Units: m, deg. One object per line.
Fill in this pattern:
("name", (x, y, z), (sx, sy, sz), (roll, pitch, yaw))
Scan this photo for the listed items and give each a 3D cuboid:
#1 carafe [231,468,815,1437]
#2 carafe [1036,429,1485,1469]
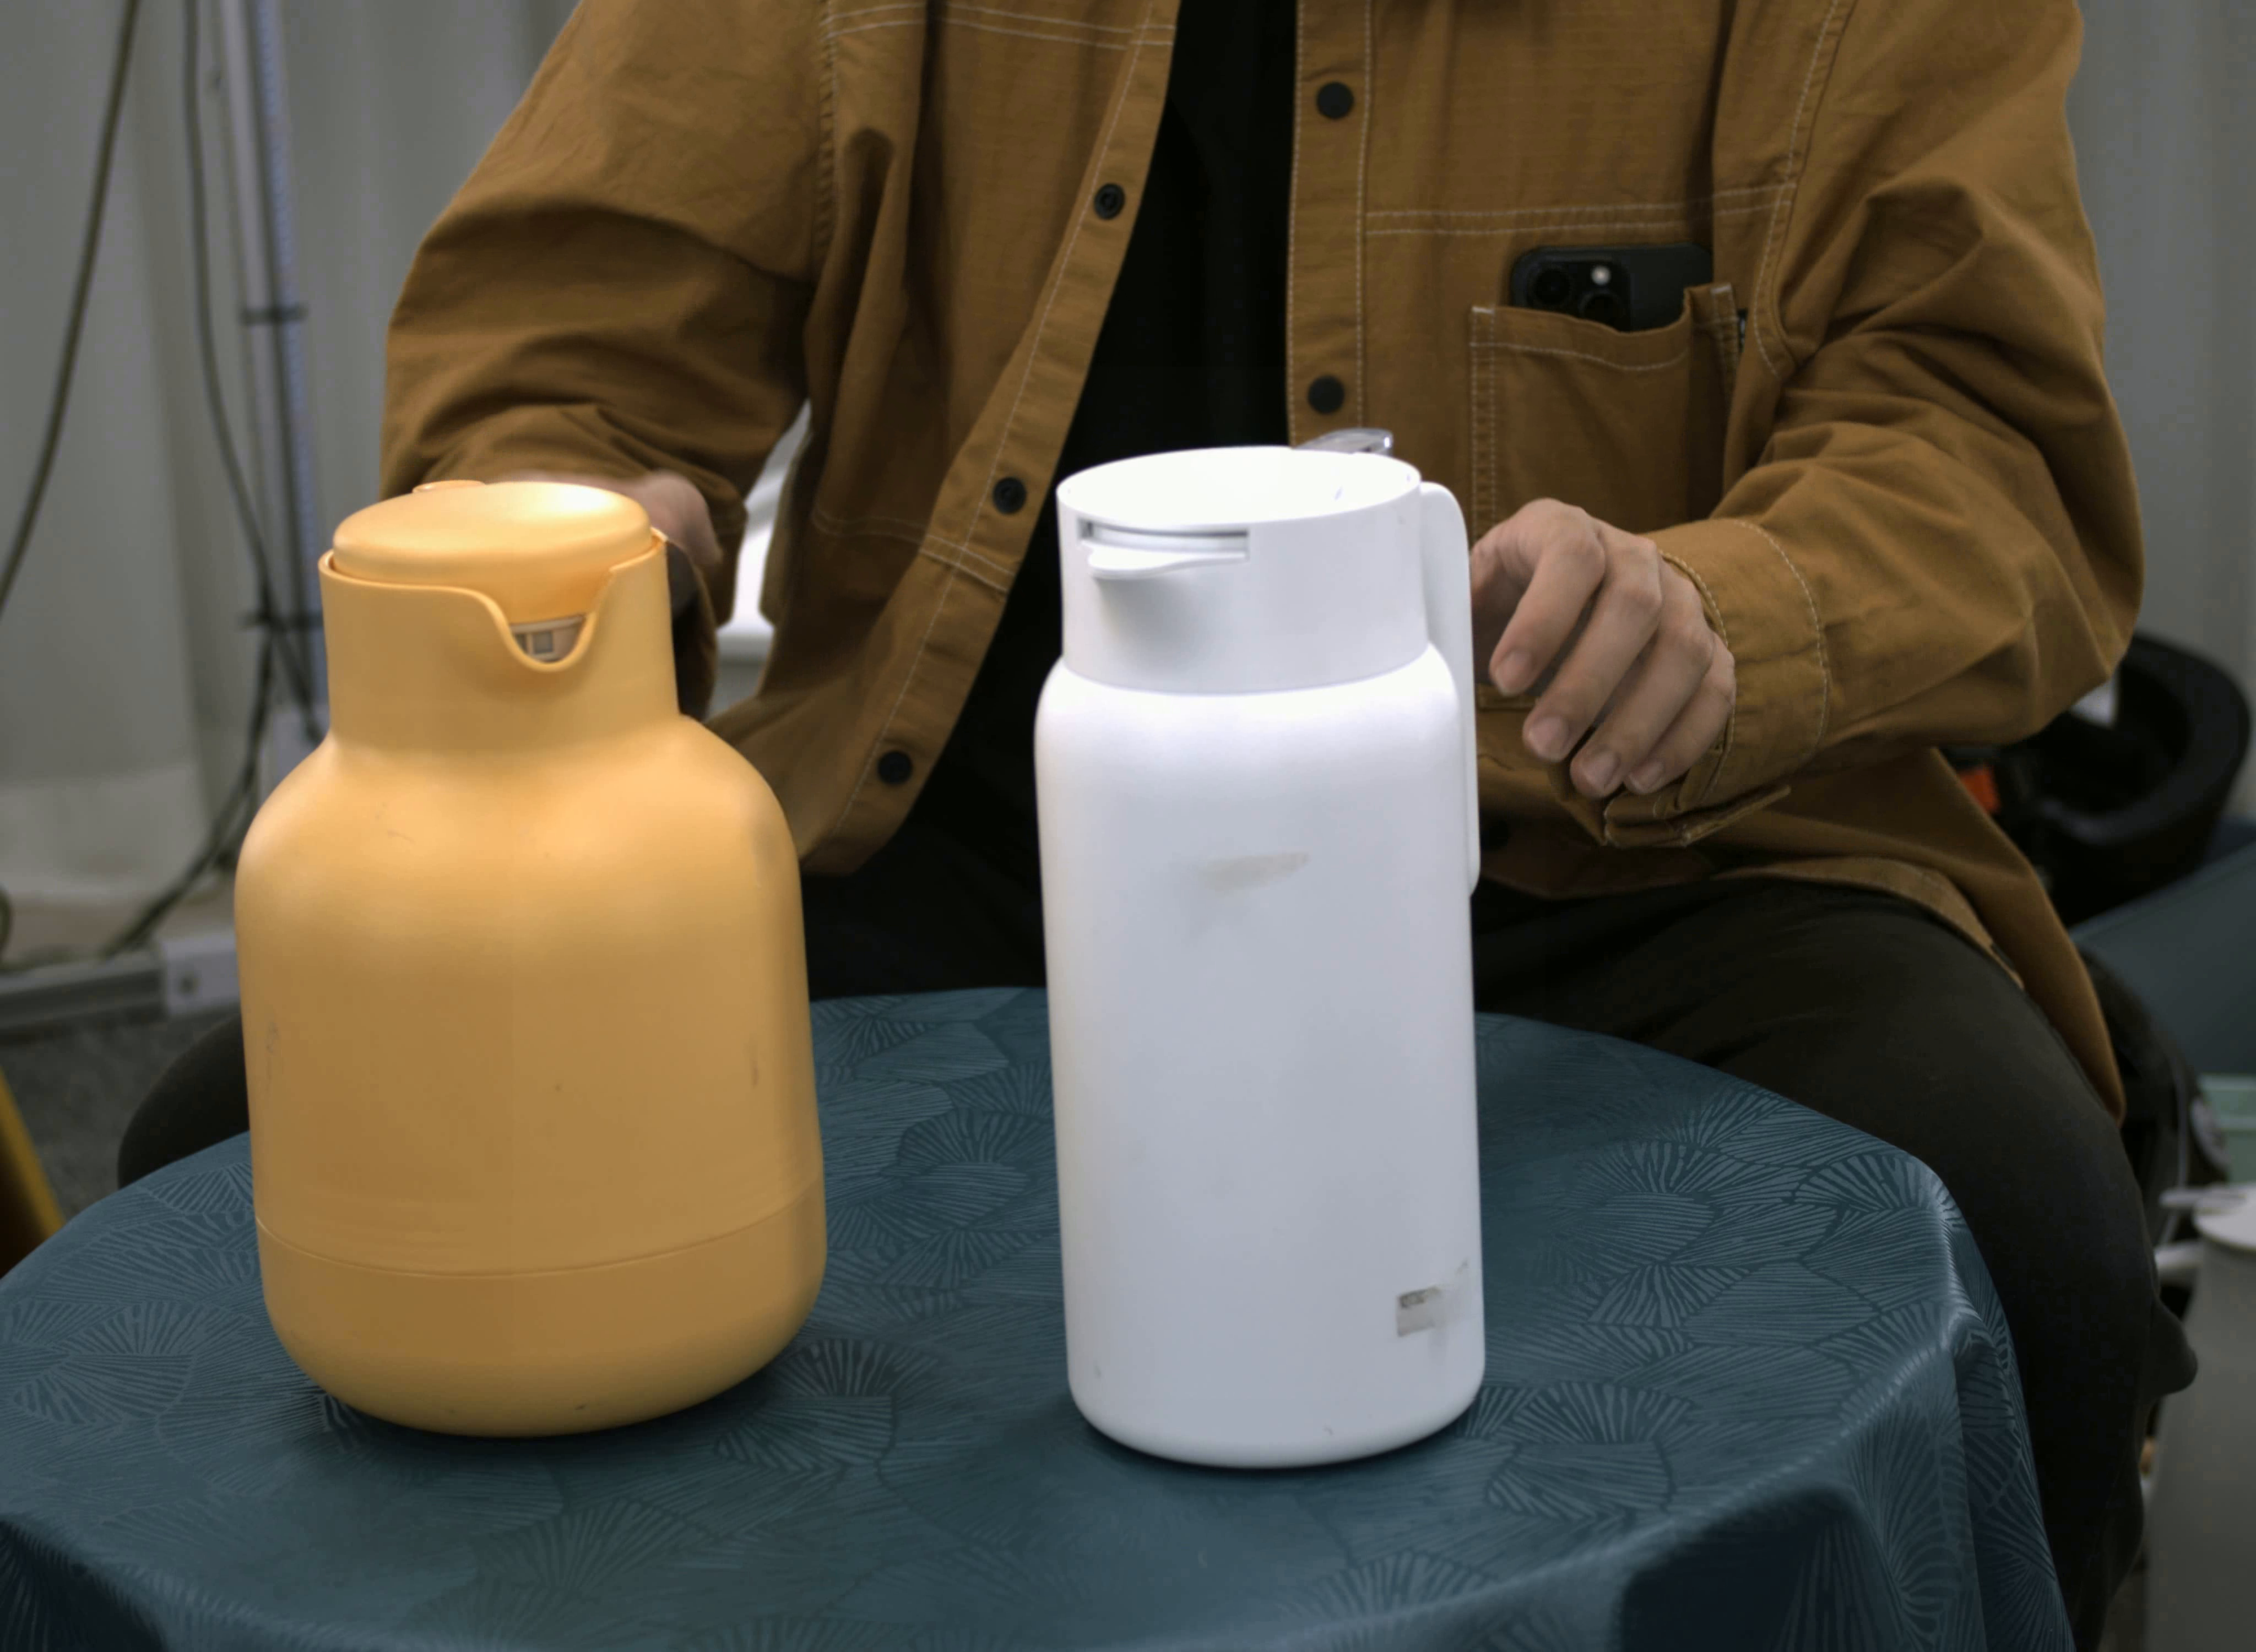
("carafe", (-0.177, 0.027, 1.572), (0.162, 0.259, 0.204), (-4, 15, -15))
("carafe", (0.044, 0.029, 1.512), (0.124, 0.268, 0.173), (3, 15, 31))
